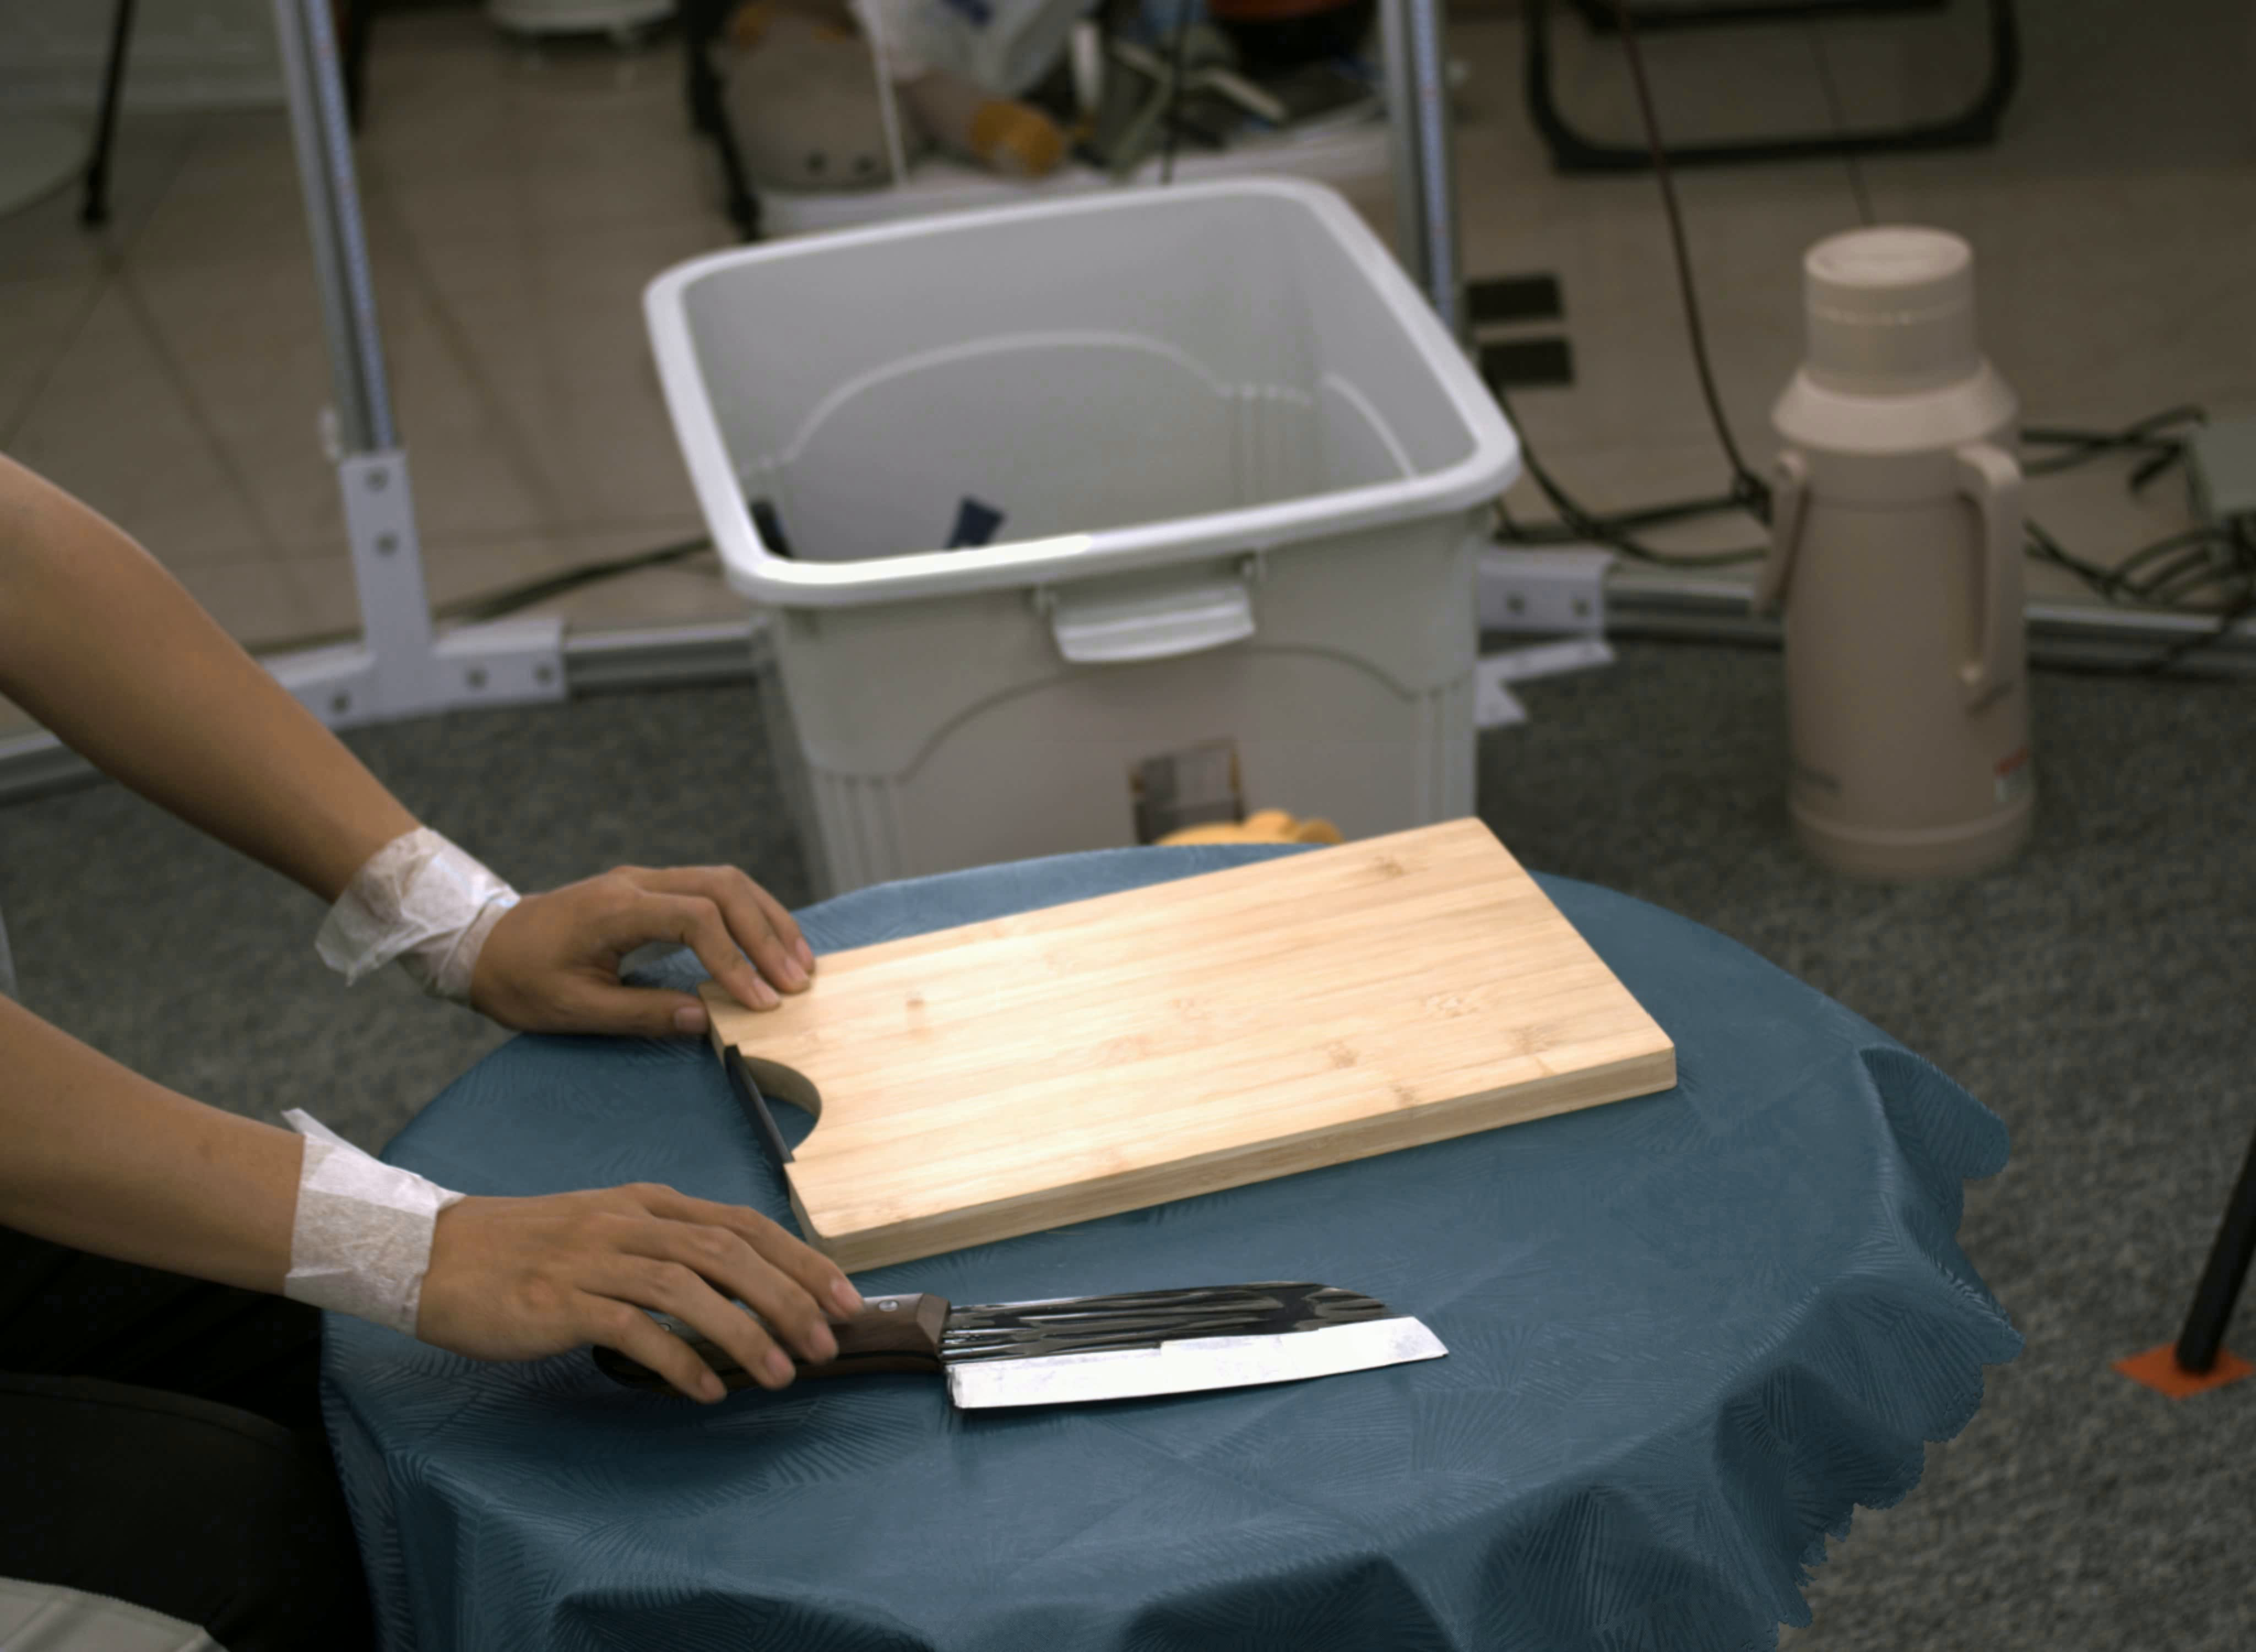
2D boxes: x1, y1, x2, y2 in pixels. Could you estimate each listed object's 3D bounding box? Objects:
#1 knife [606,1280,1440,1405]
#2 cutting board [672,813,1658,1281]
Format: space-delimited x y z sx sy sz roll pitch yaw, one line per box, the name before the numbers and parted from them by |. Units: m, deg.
knife | -0.039 0.187 2.034 0.299 0.024 0.067 -4 28 0
cutting board | 0.011 0.083 2.248 0.347 0.024 0.247 -12 25 -12
